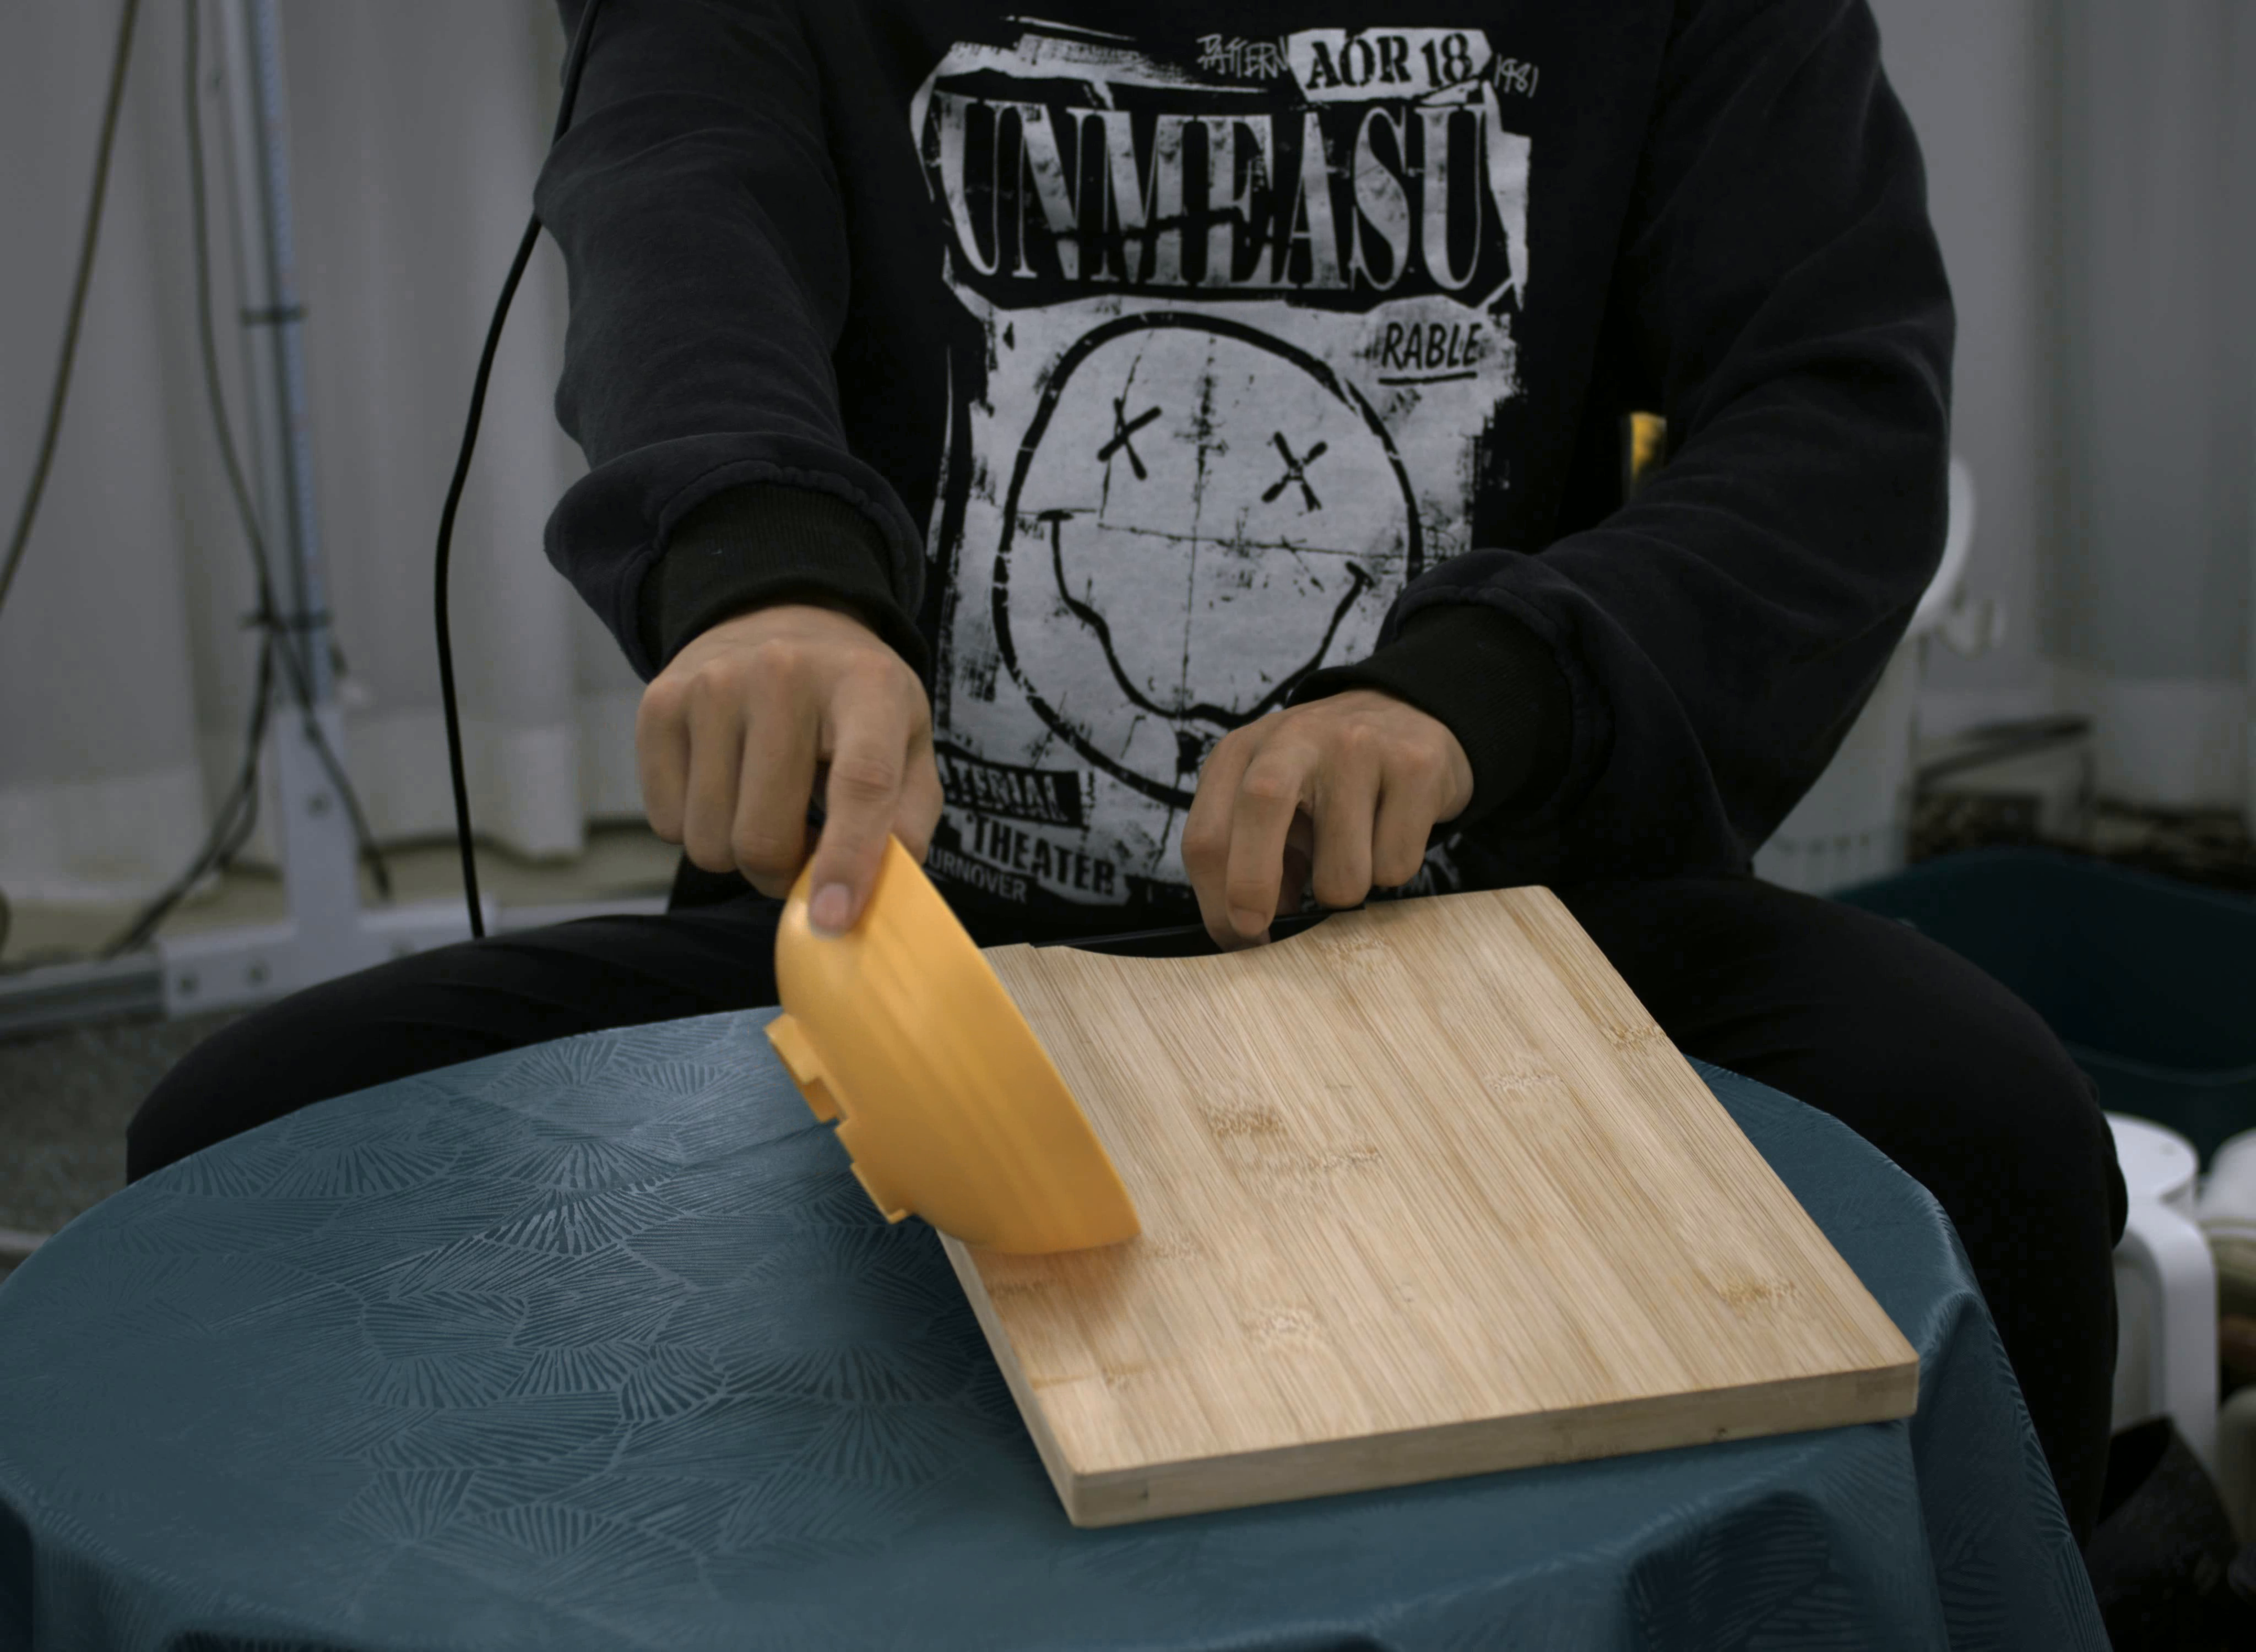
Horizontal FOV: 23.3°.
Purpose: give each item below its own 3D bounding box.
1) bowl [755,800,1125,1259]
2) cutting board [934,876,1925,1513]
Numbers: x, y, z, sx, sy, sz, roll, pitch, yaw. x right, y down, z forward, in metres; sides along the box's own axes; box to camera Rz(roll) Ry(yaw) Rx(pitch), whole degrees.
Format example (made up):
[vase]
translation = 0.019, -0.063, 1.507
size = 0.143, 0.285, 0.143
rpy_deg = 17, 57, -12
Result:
[bowl]
translation = -0.063, 0.069, 1.536
size = 0.060, 0.144, 0.146
rpy_deg = -32, 21, -9
[cutting board]
translation = 0.062, 0.102, 1.626
size = 0.249, 0.023, 0.352
rpy_deg = -6, 23, -13
